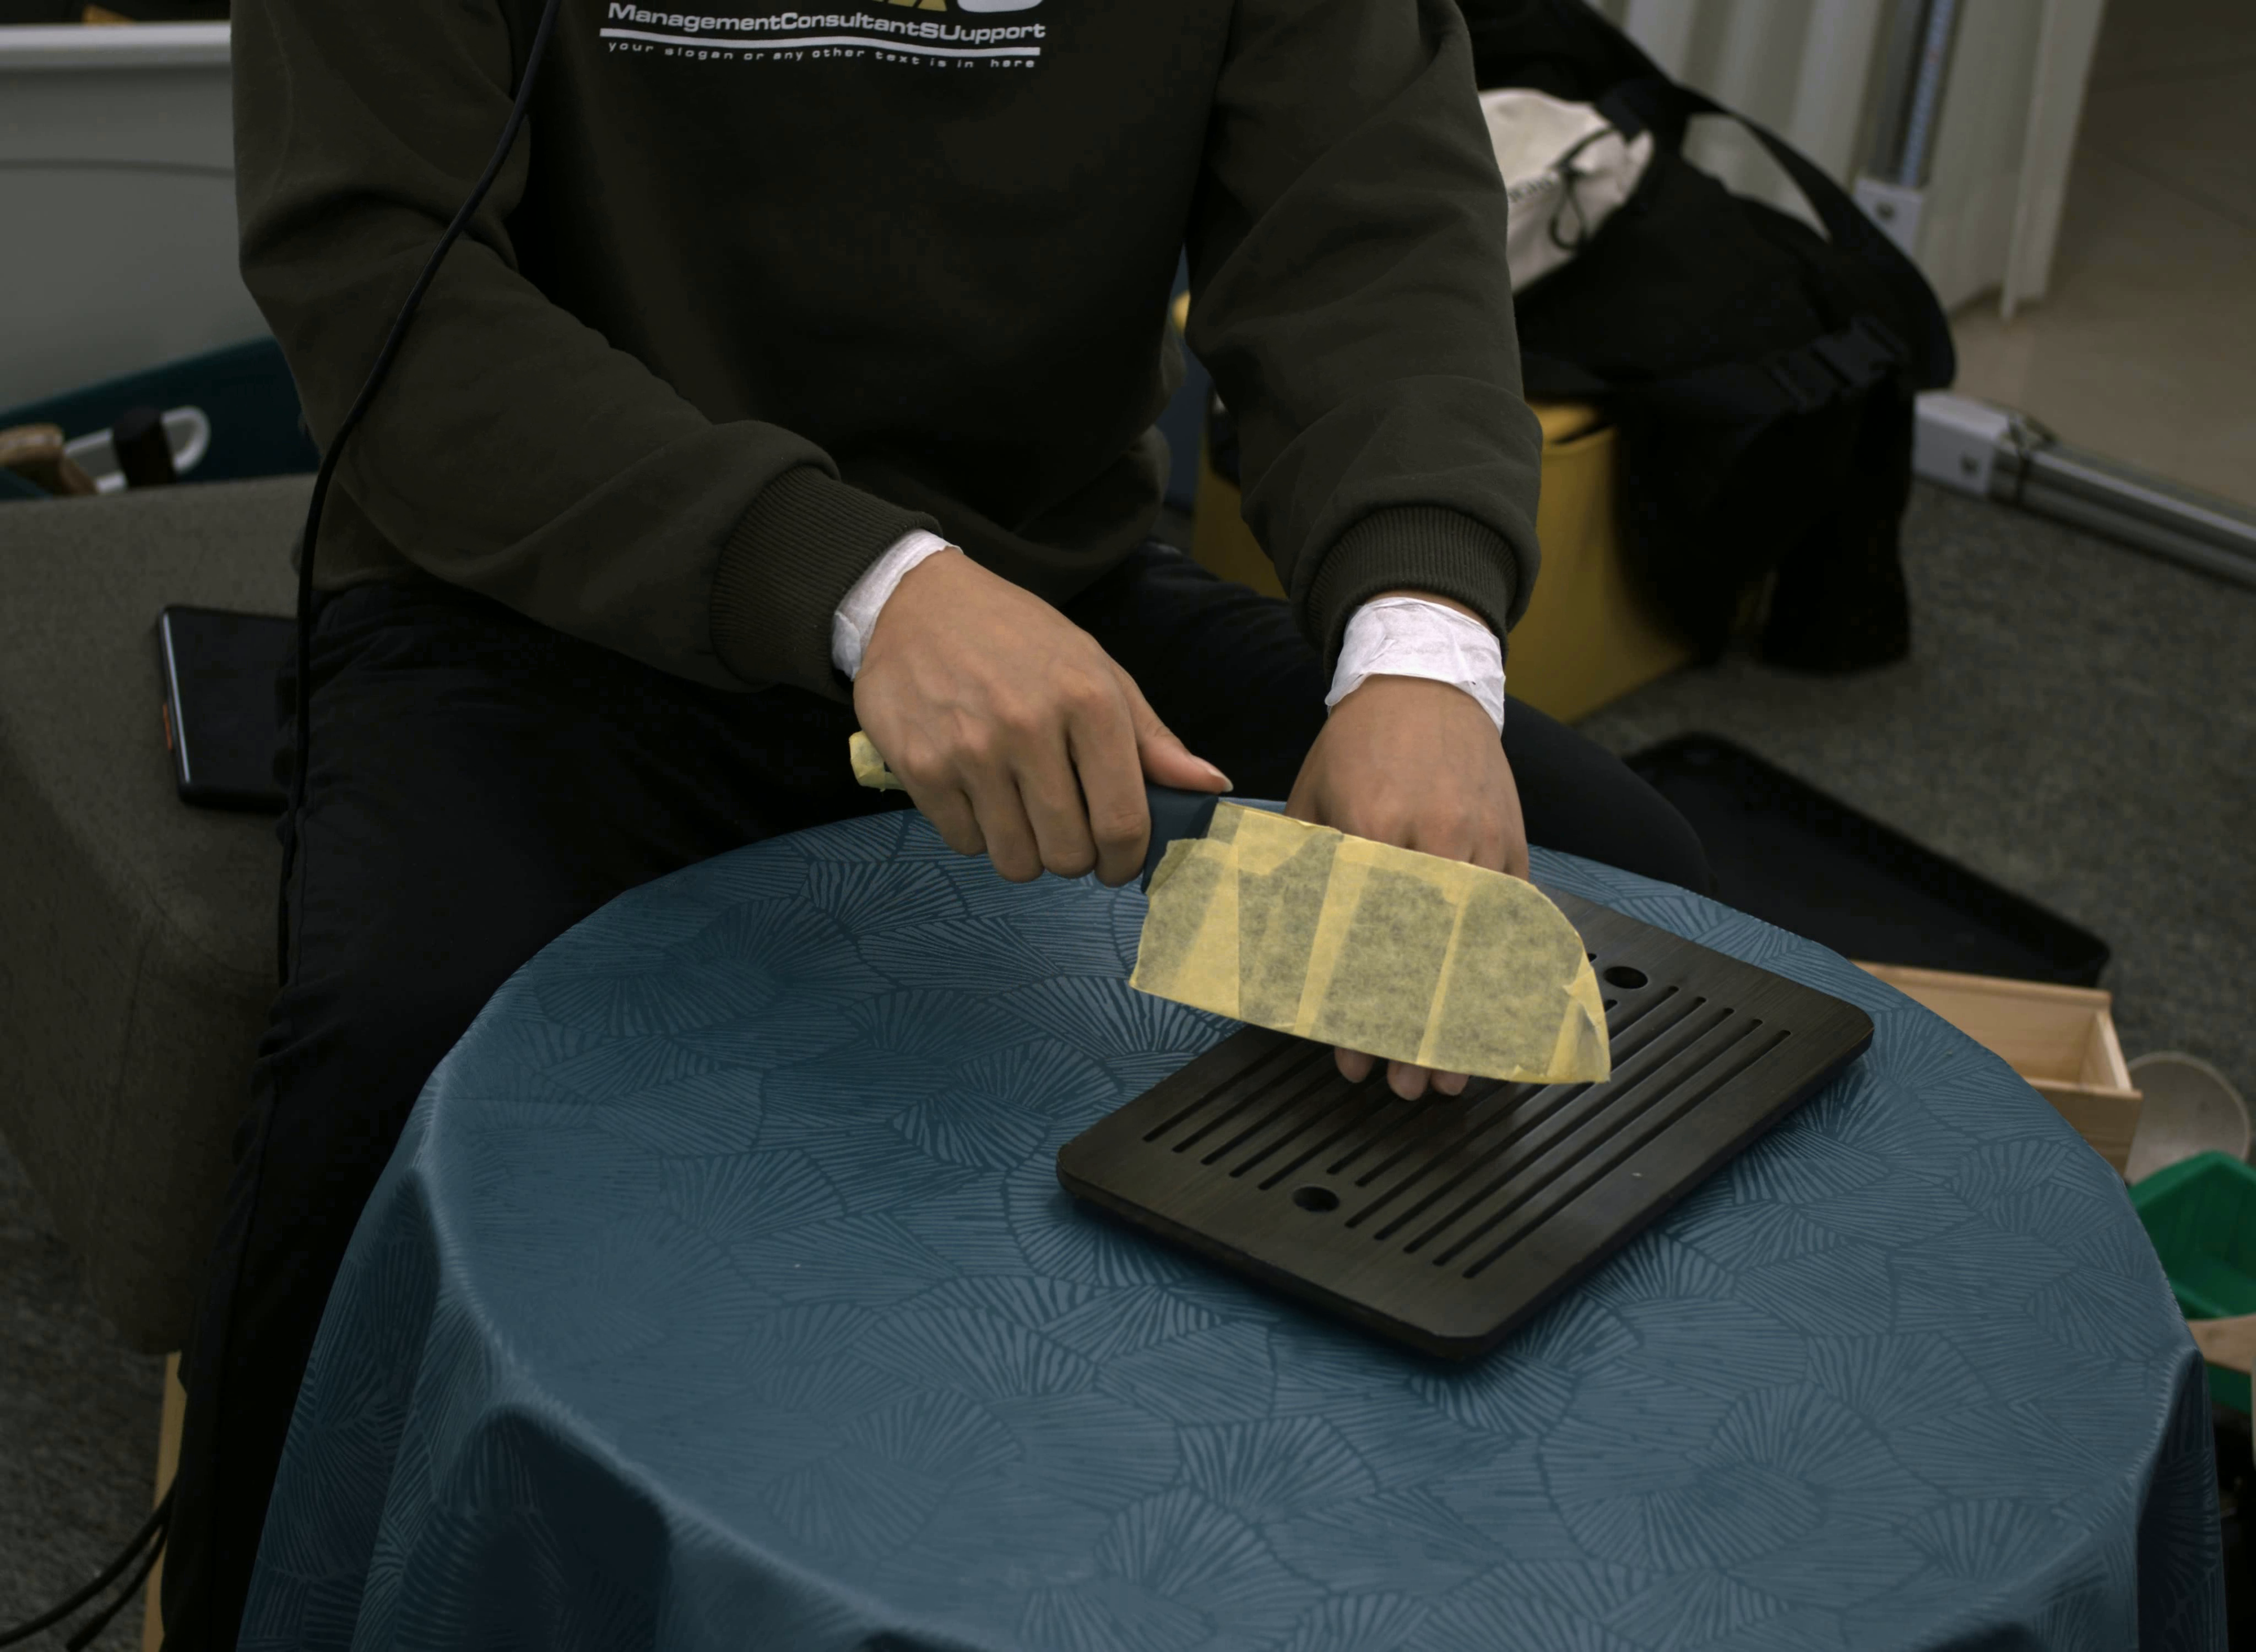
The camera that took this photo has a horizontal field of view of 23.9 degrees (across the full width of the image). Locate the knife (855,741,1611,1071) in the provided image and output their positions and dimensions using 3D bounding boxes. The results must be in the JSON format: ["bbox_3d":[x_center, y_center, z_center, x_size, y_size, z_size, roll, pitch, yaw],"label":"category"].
[{"bbox_3d":[0.033,0.026,1.860,0.290,0.081,0.027,17,-5,17],"label":"knife"}]

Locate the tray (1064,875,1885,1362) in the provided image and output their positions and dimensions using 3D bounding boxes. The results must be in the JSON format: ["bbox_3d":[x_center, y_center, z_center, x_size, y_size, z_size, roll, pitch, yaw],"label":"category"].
[{"bbox_3d":[0.126,0.099,1.863,0.171,0.018,0.305,21,30,28],"label":"tray"}]
